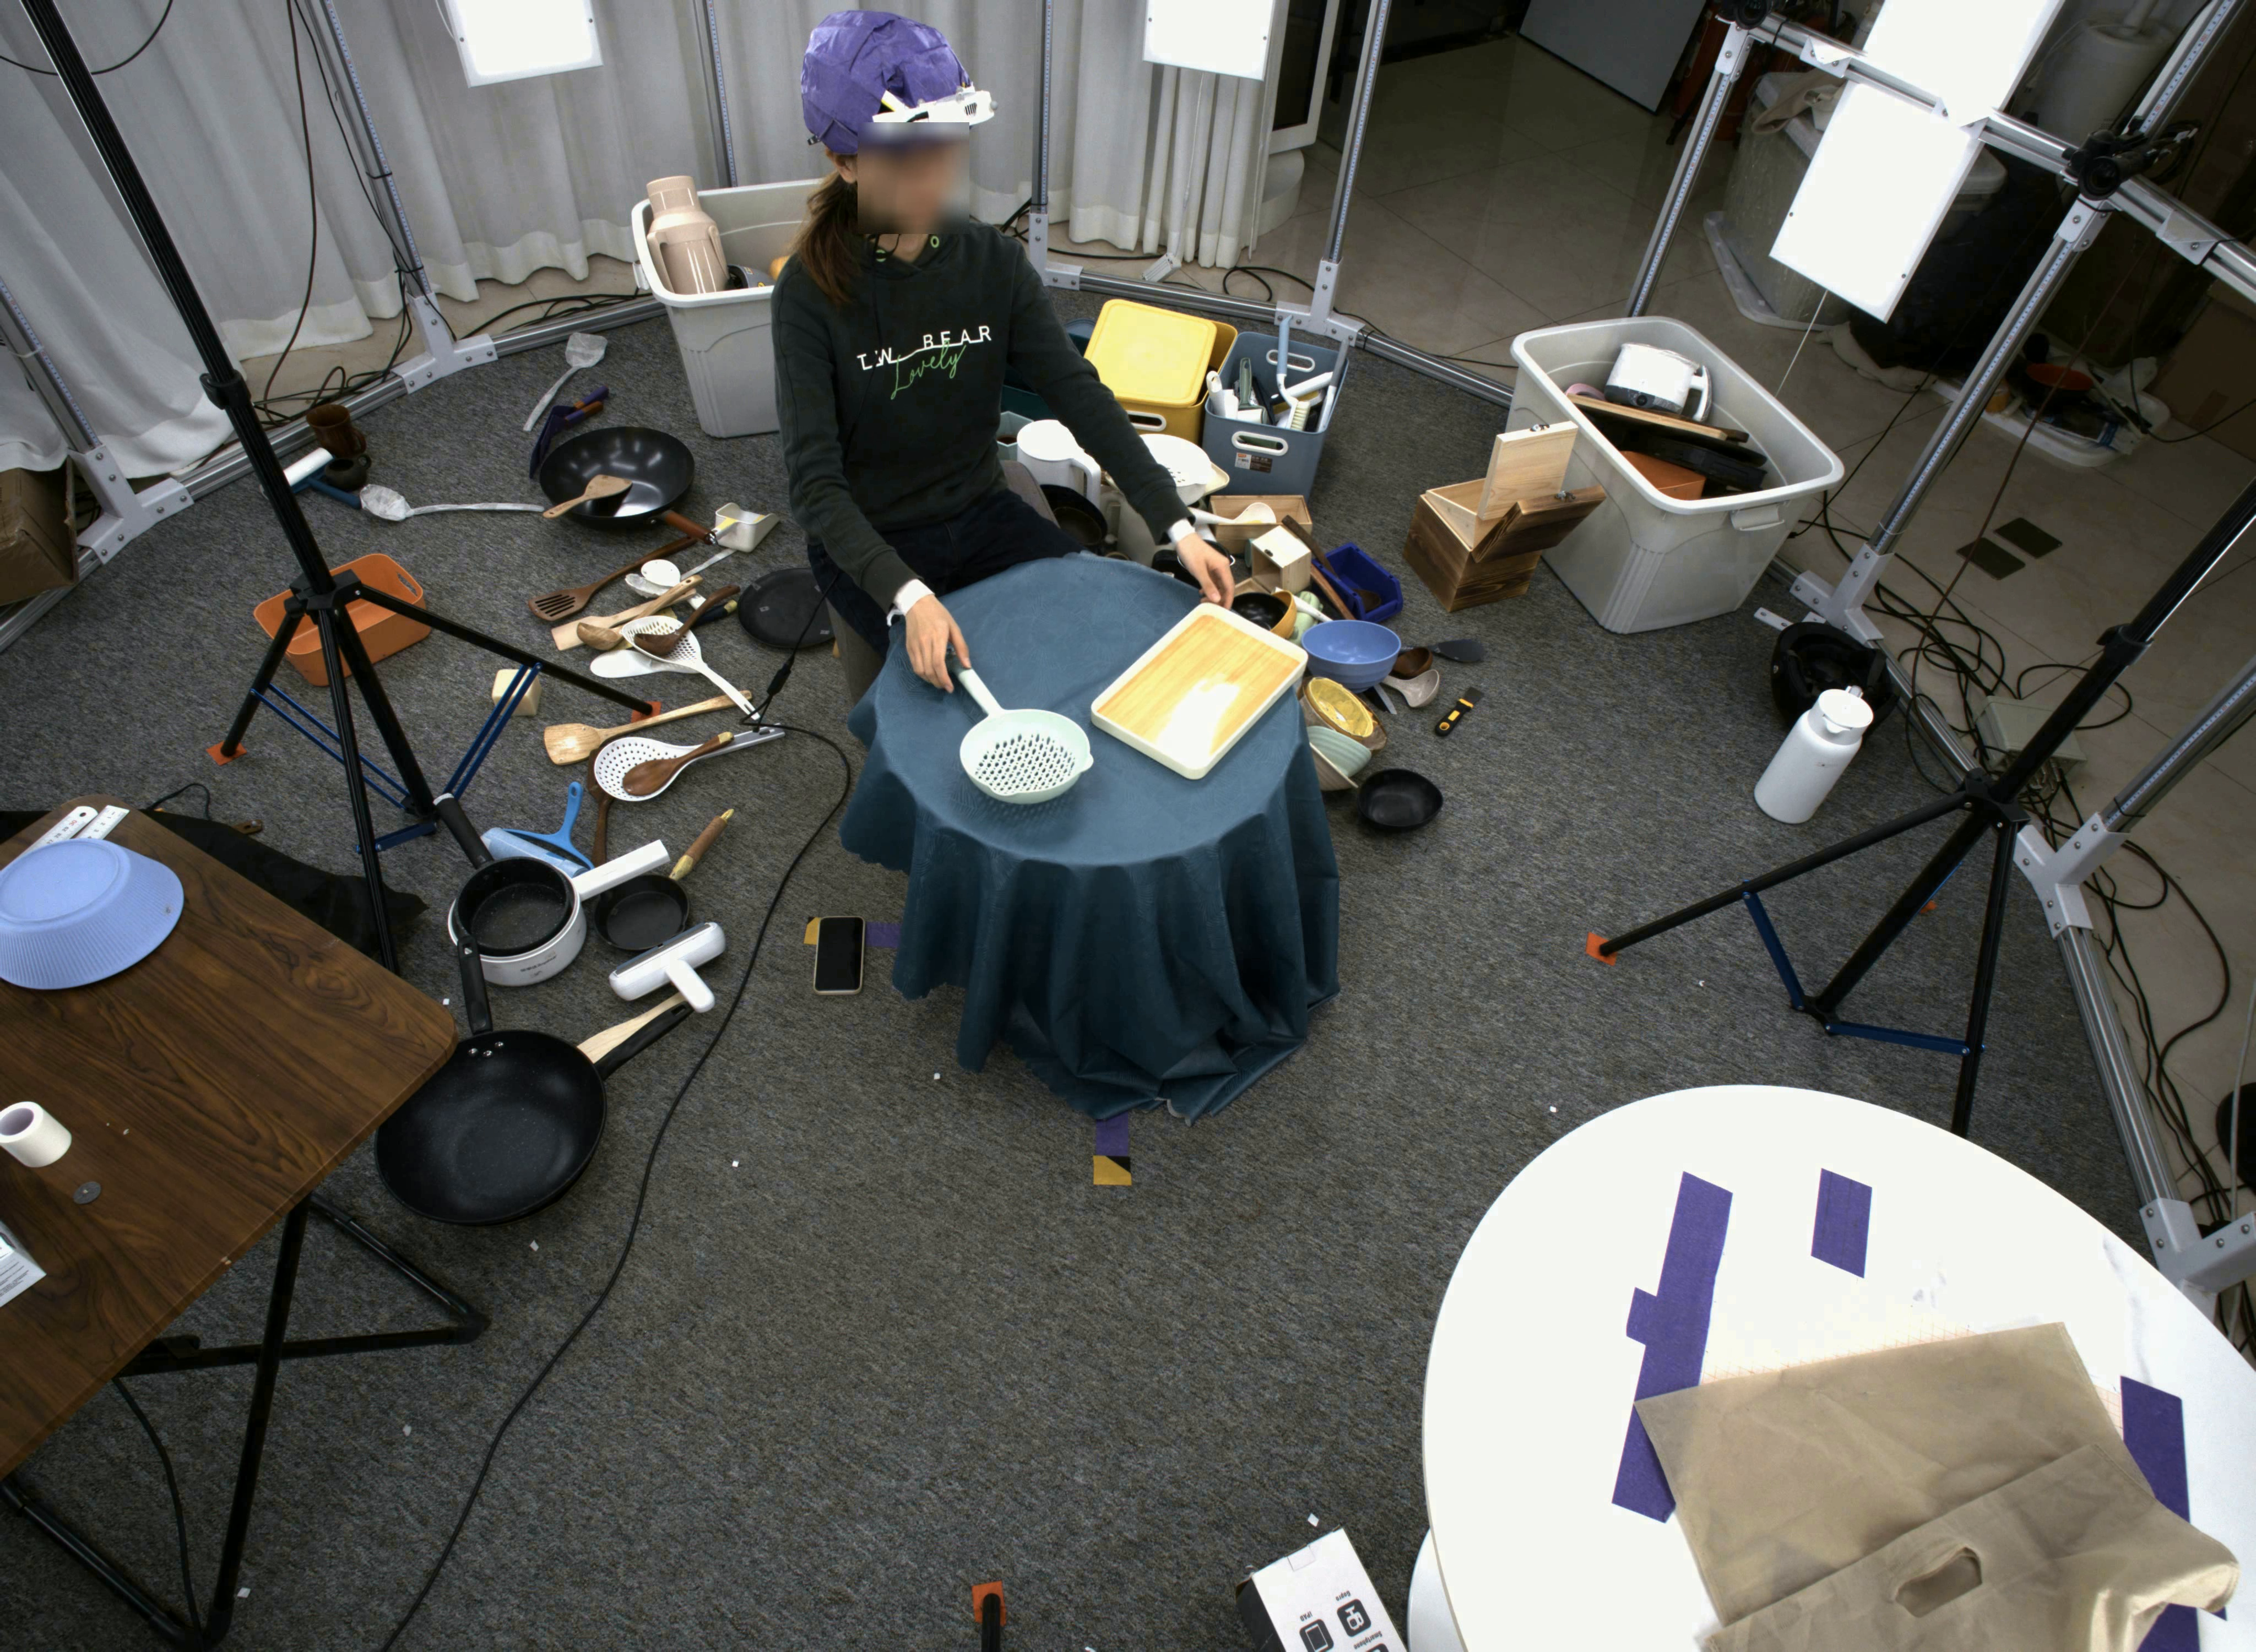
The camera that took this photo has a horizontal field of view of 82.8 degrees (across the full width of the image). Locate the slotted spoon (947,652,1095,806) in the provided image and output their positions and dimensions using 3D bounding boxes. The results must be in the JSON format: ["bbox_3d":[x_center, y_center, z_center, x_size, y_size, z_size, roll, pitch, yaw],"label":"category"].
[{"bbox_3d":[-0.178,-0.149,1.760,0.169,0.073,0.367,-19,53,-19],"label":"slotted spoon"}]

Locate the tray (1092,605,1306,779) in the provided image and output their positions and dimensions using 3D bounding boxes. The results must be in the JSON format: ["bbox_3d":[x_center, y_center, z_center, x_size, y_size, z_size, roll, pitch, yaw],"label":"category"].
[{"bbox_3d":[0.105,-0.199,1.848,0.194,0.027,0.304,30,53,21],"label":"tray"}]
